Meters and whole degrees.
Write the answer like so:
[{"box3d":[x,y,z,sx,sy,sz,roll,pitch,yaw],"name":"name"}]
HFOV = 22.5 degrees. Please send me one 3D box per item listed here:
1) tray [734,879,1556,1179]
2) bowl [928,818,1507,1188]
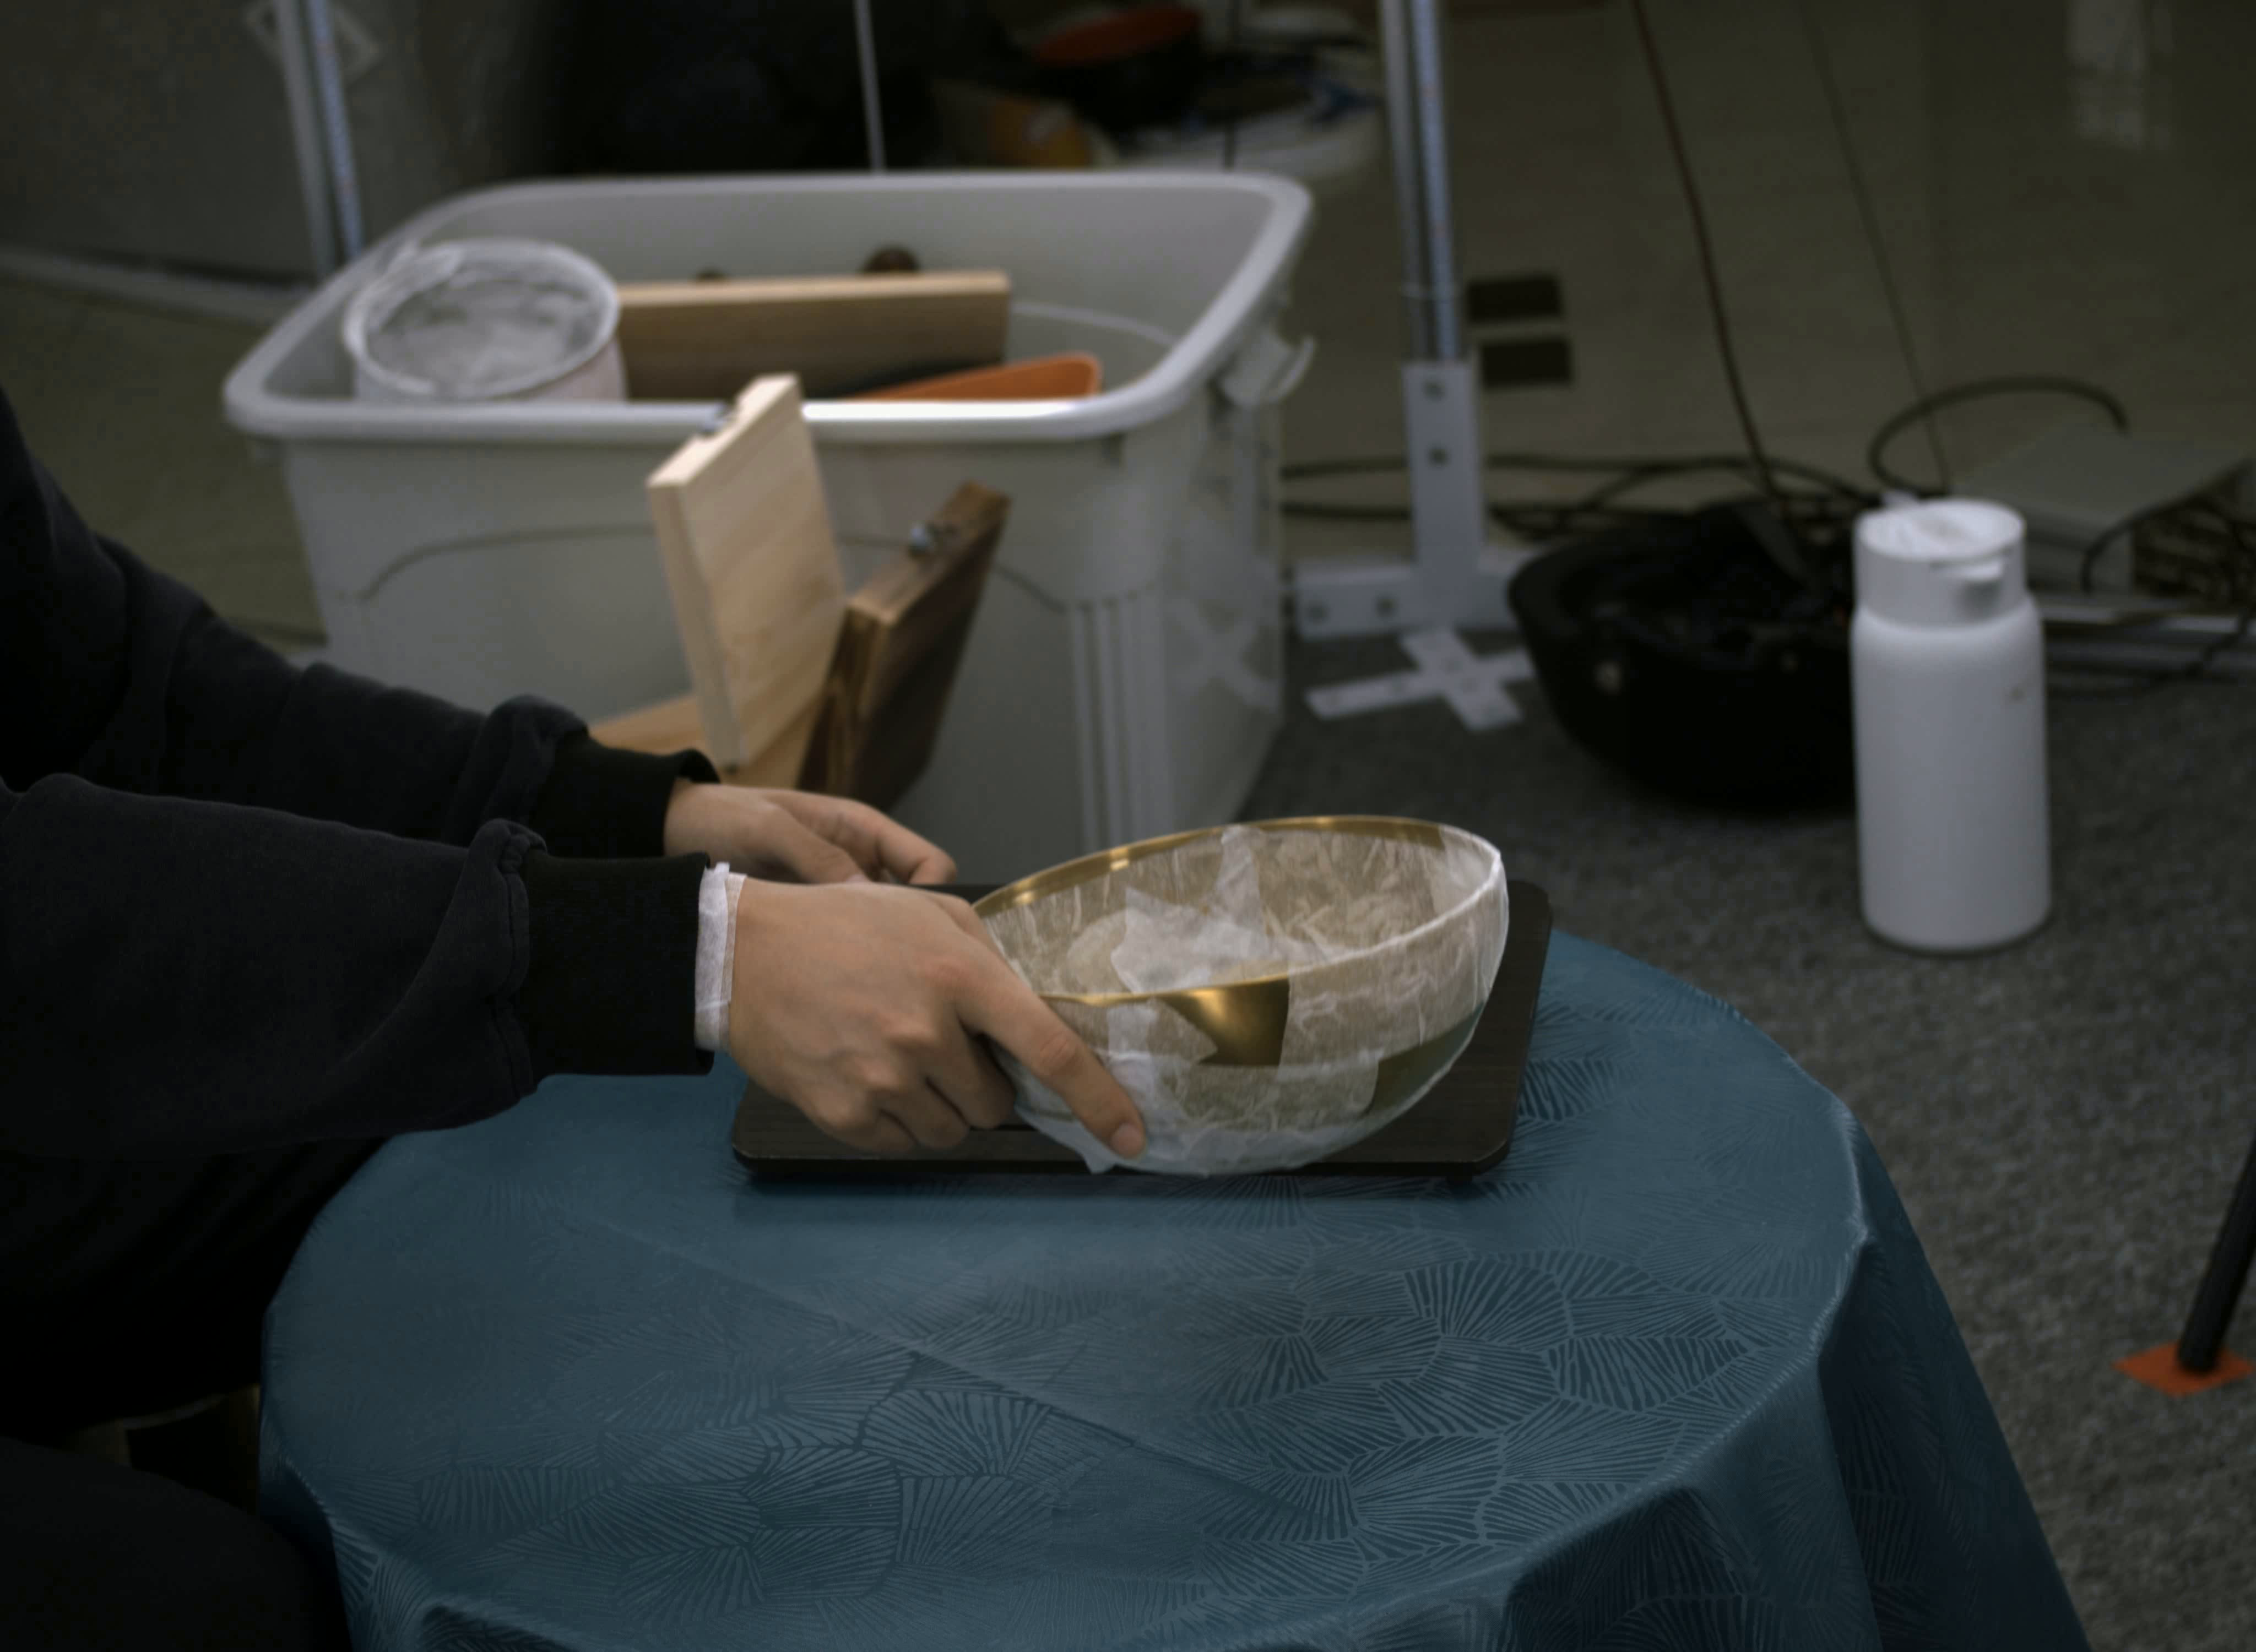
[{"box3d":[0.009,0.080,2.216,0.305,0.019,0.167,0,39,13],"name":"tray"},{"box3d":[0.035,0.072,2.000,0.214,0.096,0.212,-9,16,3],"name":"bowl"}]
